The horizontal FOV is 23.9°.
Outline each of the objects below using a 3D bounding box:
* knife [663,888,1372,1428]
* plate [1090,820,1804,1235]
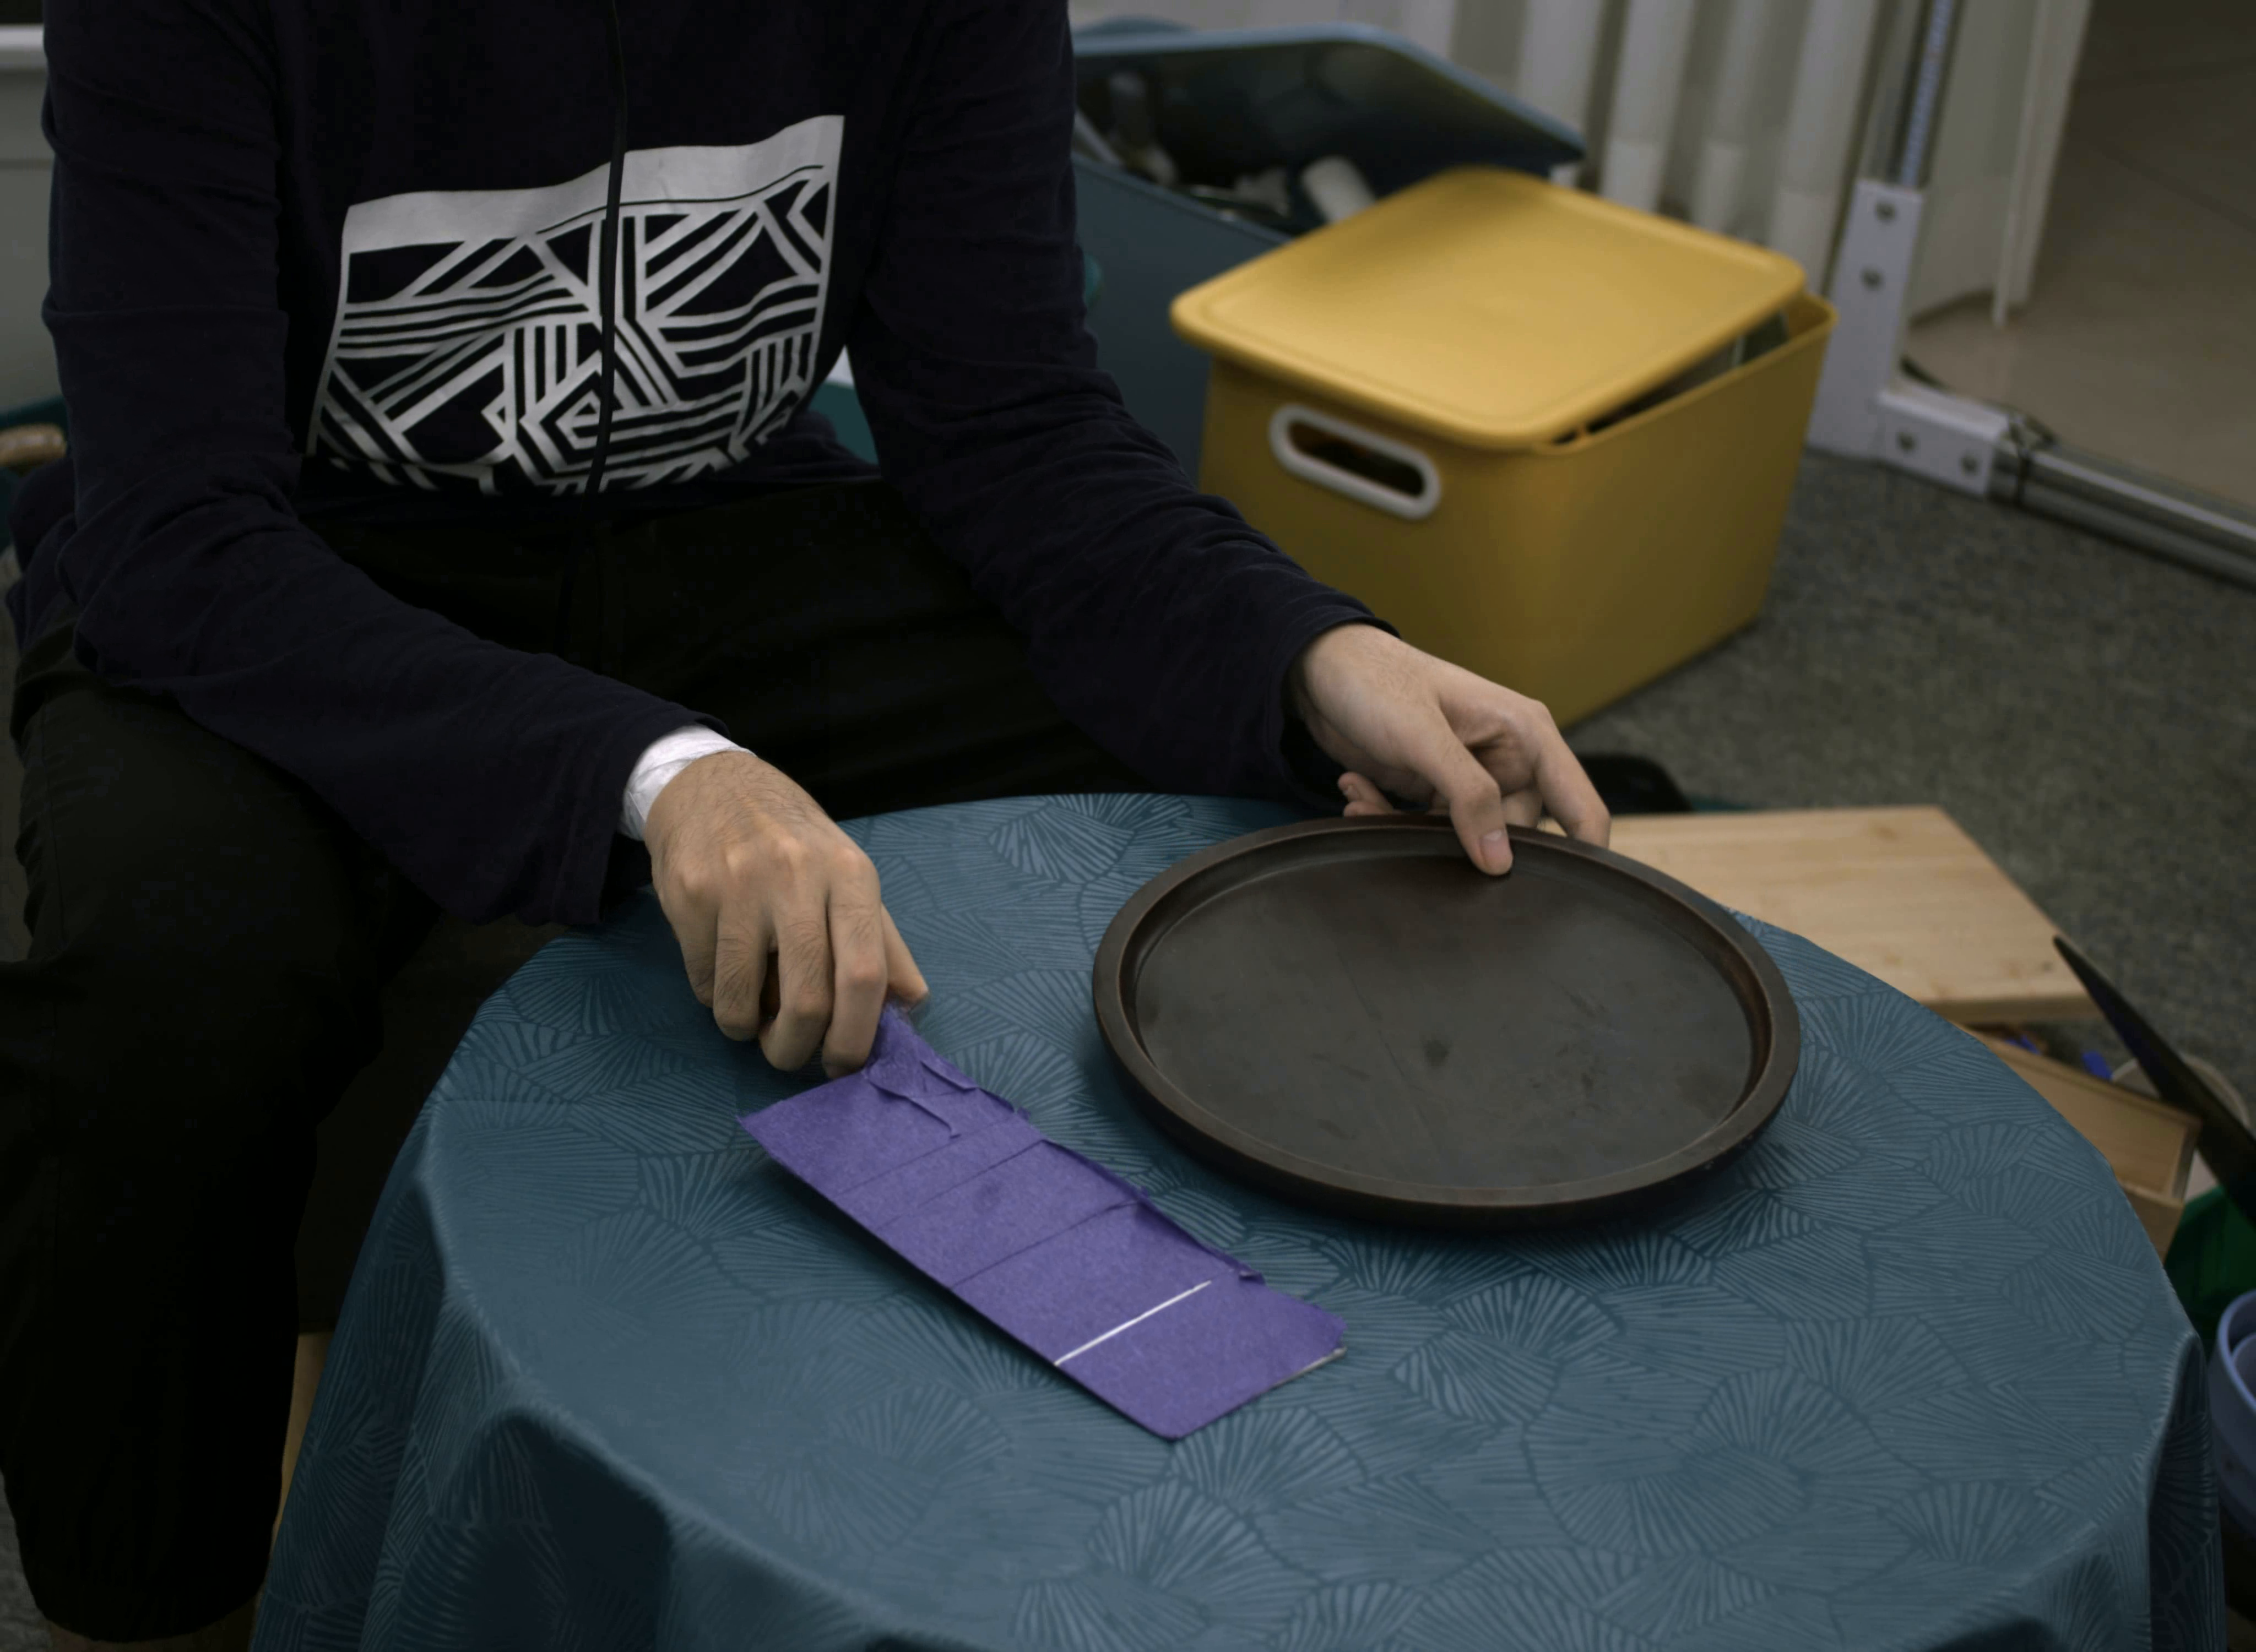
[{"bbox_3d":[-0.064,0.107,1.783,0.317,0.032,0.103,30,34,35],"label":"knife"},{"bbox_3d":[0.113,0.069,1.890,0.254,0.029,0.256,3,32,-2],"label":"plate"}]
